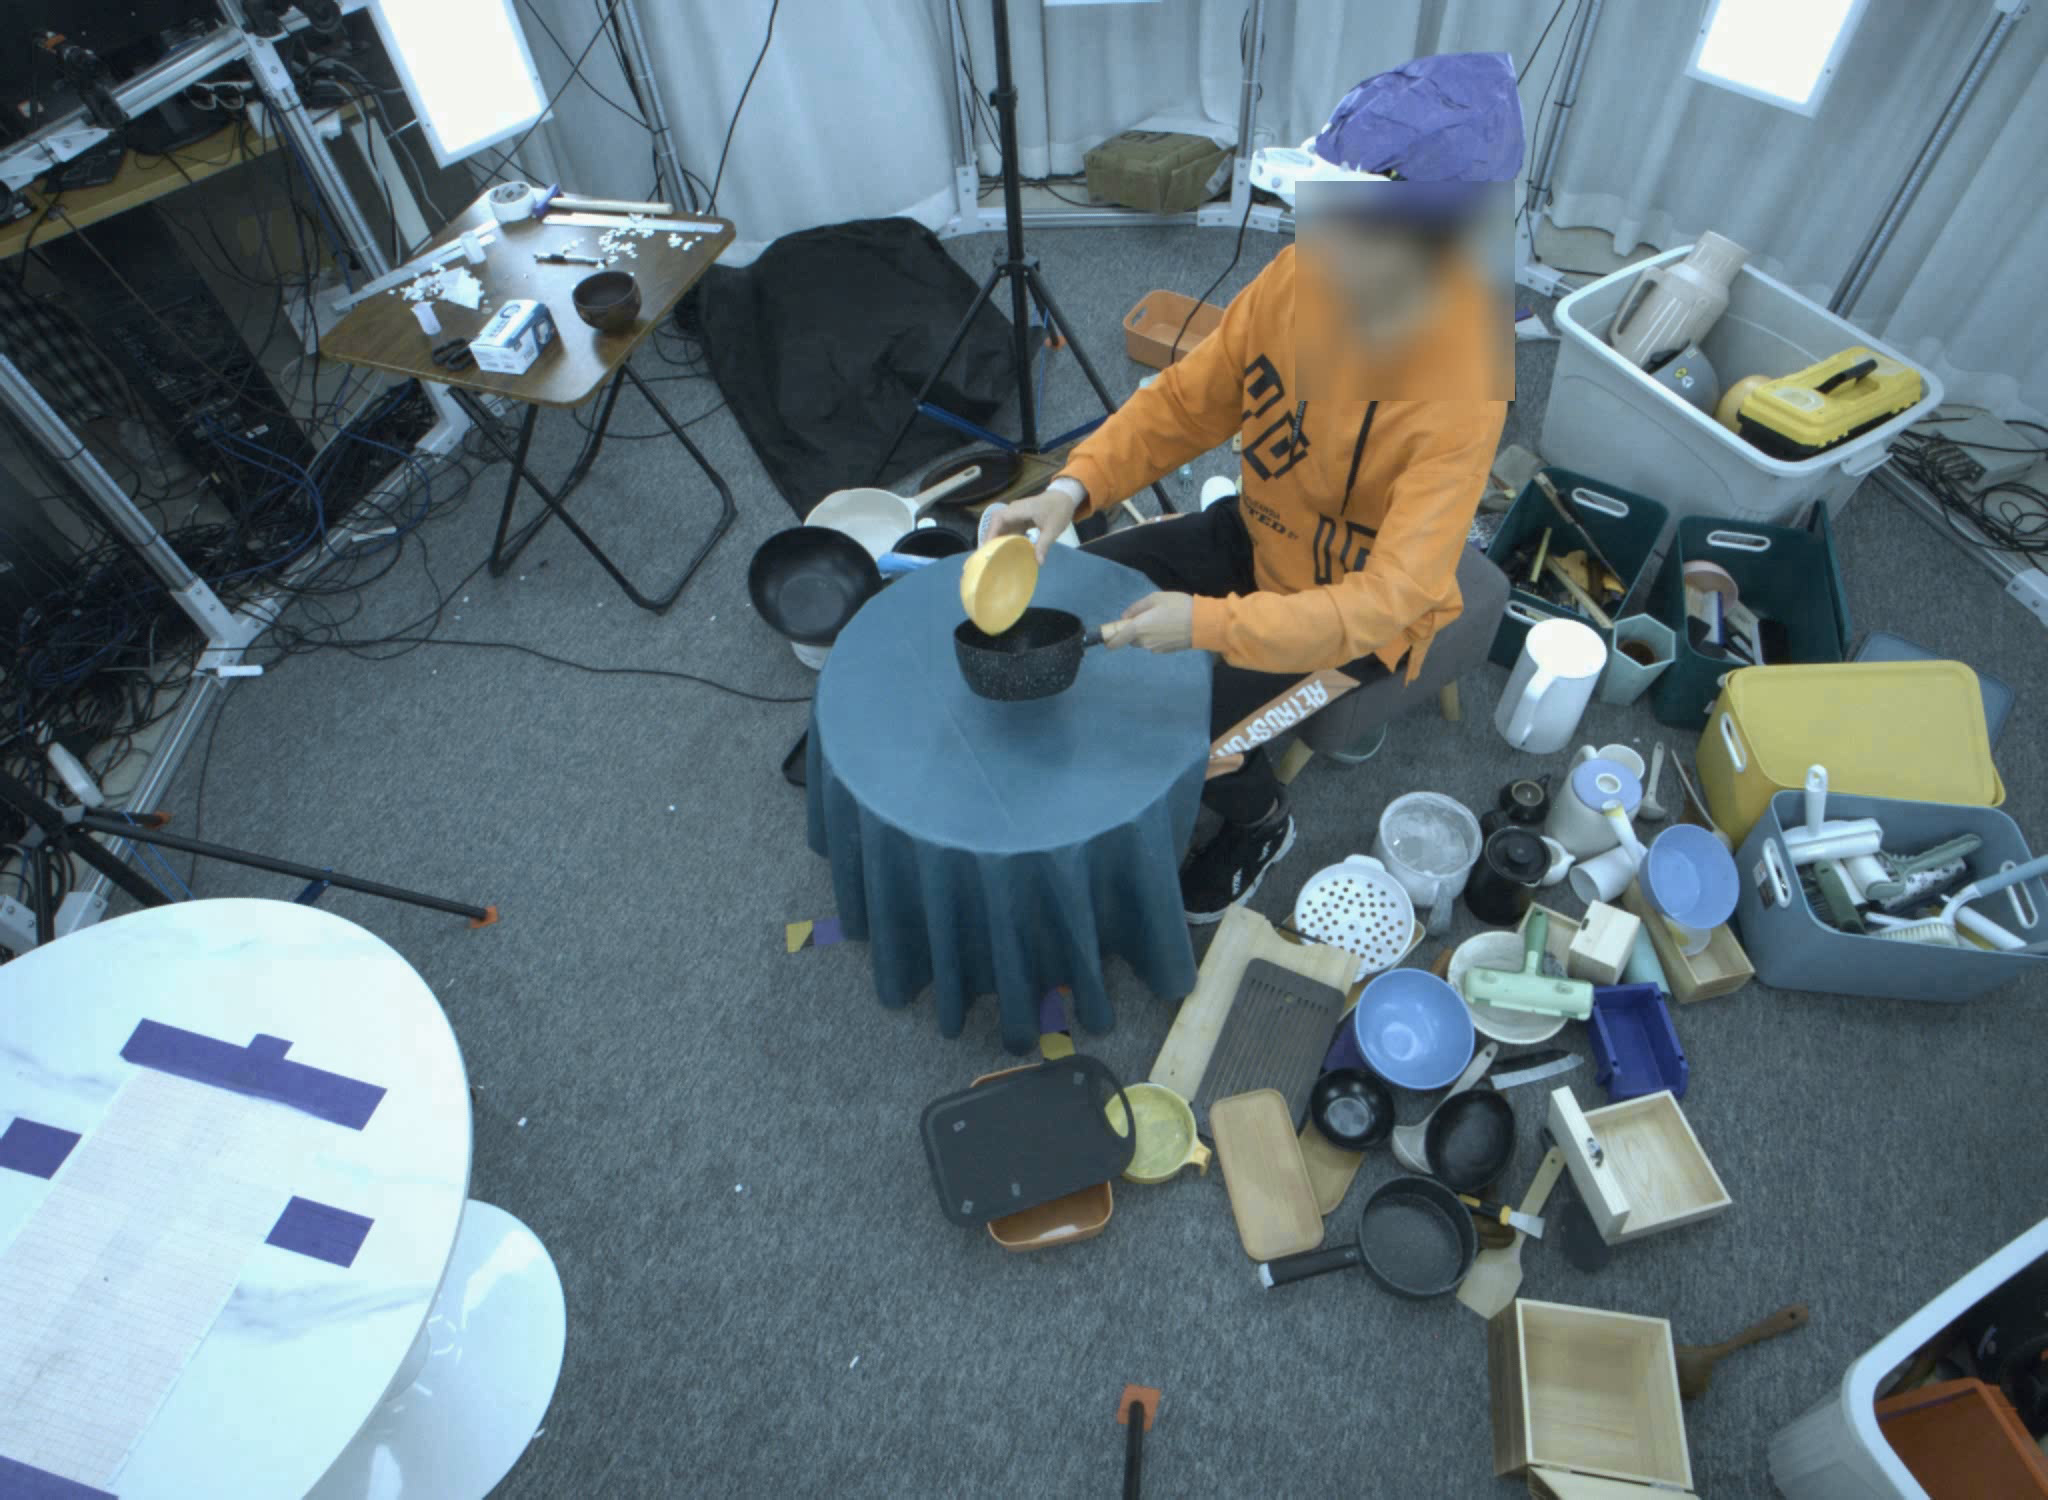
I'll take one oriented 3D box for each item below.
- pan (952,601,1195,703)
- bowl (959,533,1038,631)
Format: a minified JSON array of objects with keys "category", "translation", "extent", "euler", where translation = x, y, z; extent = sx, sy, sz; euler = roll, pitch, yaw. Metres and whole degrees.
[{"category":"pan","translation":[0.072,-0.149,1.743],"extent":[0.342,0.109,0.206],"euler":[-4,25,2]},{"category":"bowl","translation":[-0.049,-0.245,1.736],"extent":[0.059,0.147,0.146],"euler":[26,60,29]}]
